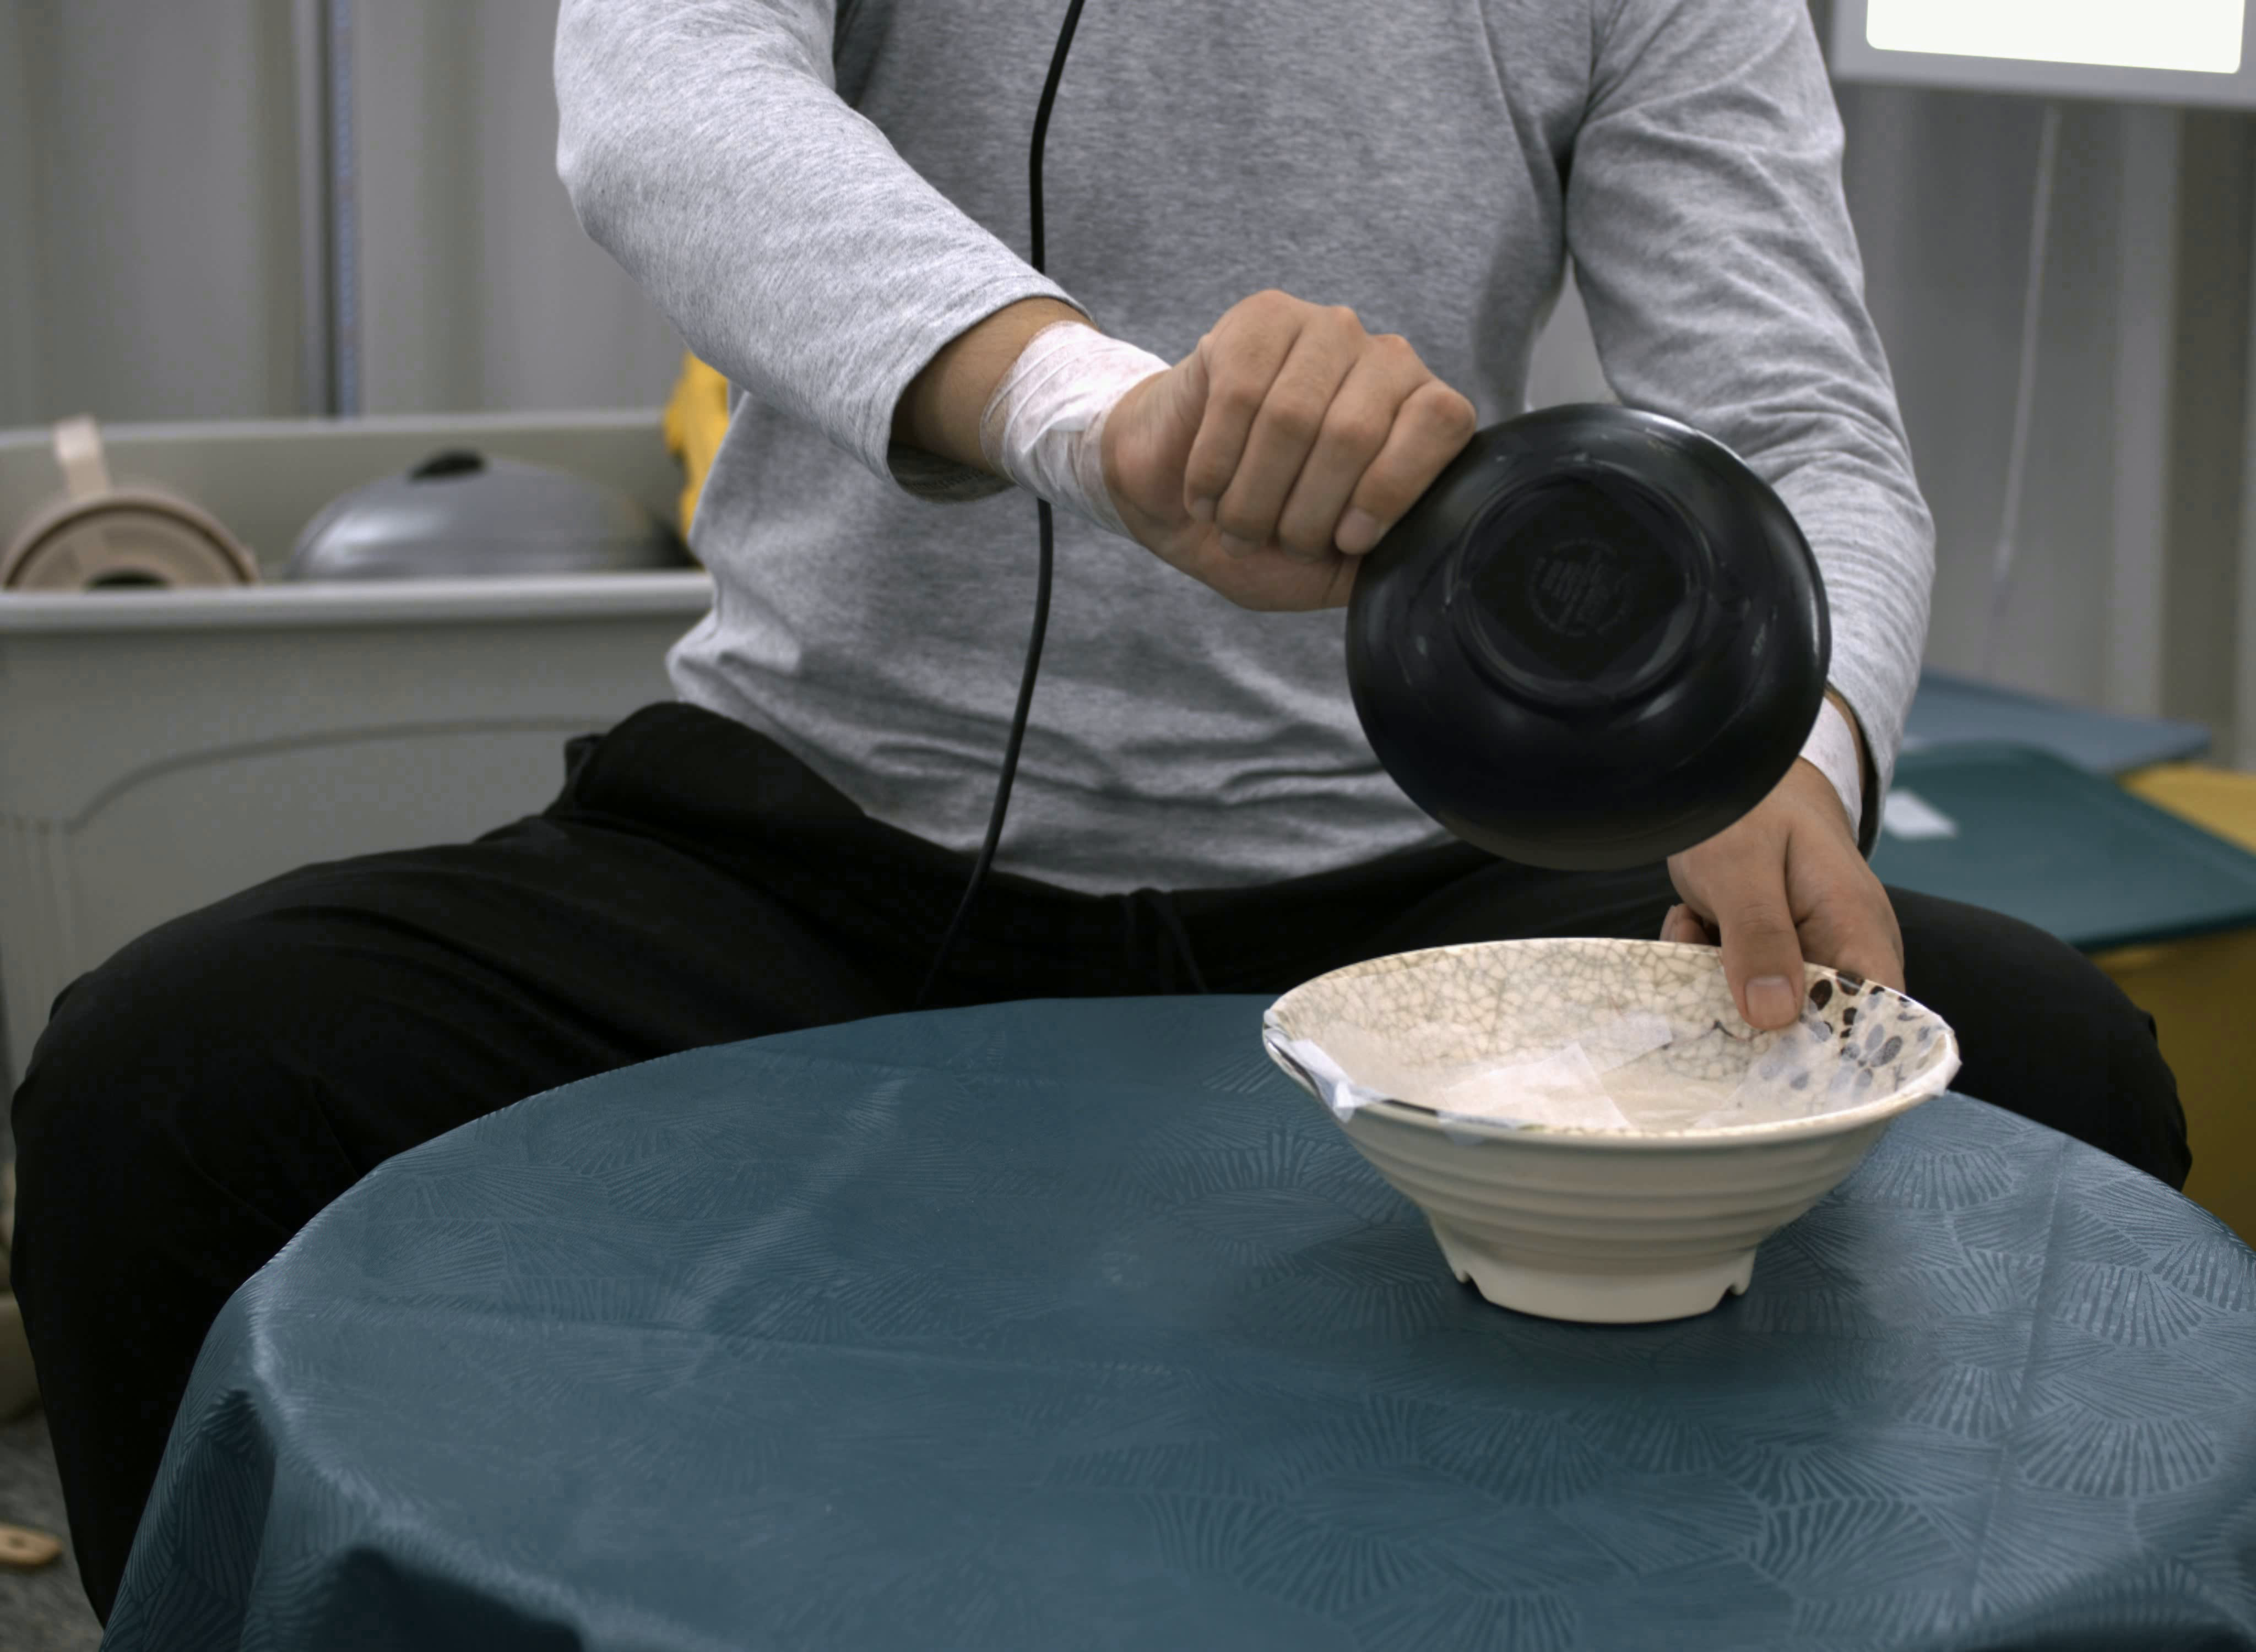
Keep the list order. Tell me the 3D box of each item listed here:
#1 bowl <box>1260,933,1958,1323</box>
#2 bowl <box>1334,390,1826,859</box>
[{"bbox_3d":[0.139,0.095,1.543,0.203,0.078,0.203,1,14,0],"label":"bowl"},{"bbox_3d":[0.127,-0.064,1.469,0.139,0.139,0.050,2,-19,2],"label":"bowl"}]
